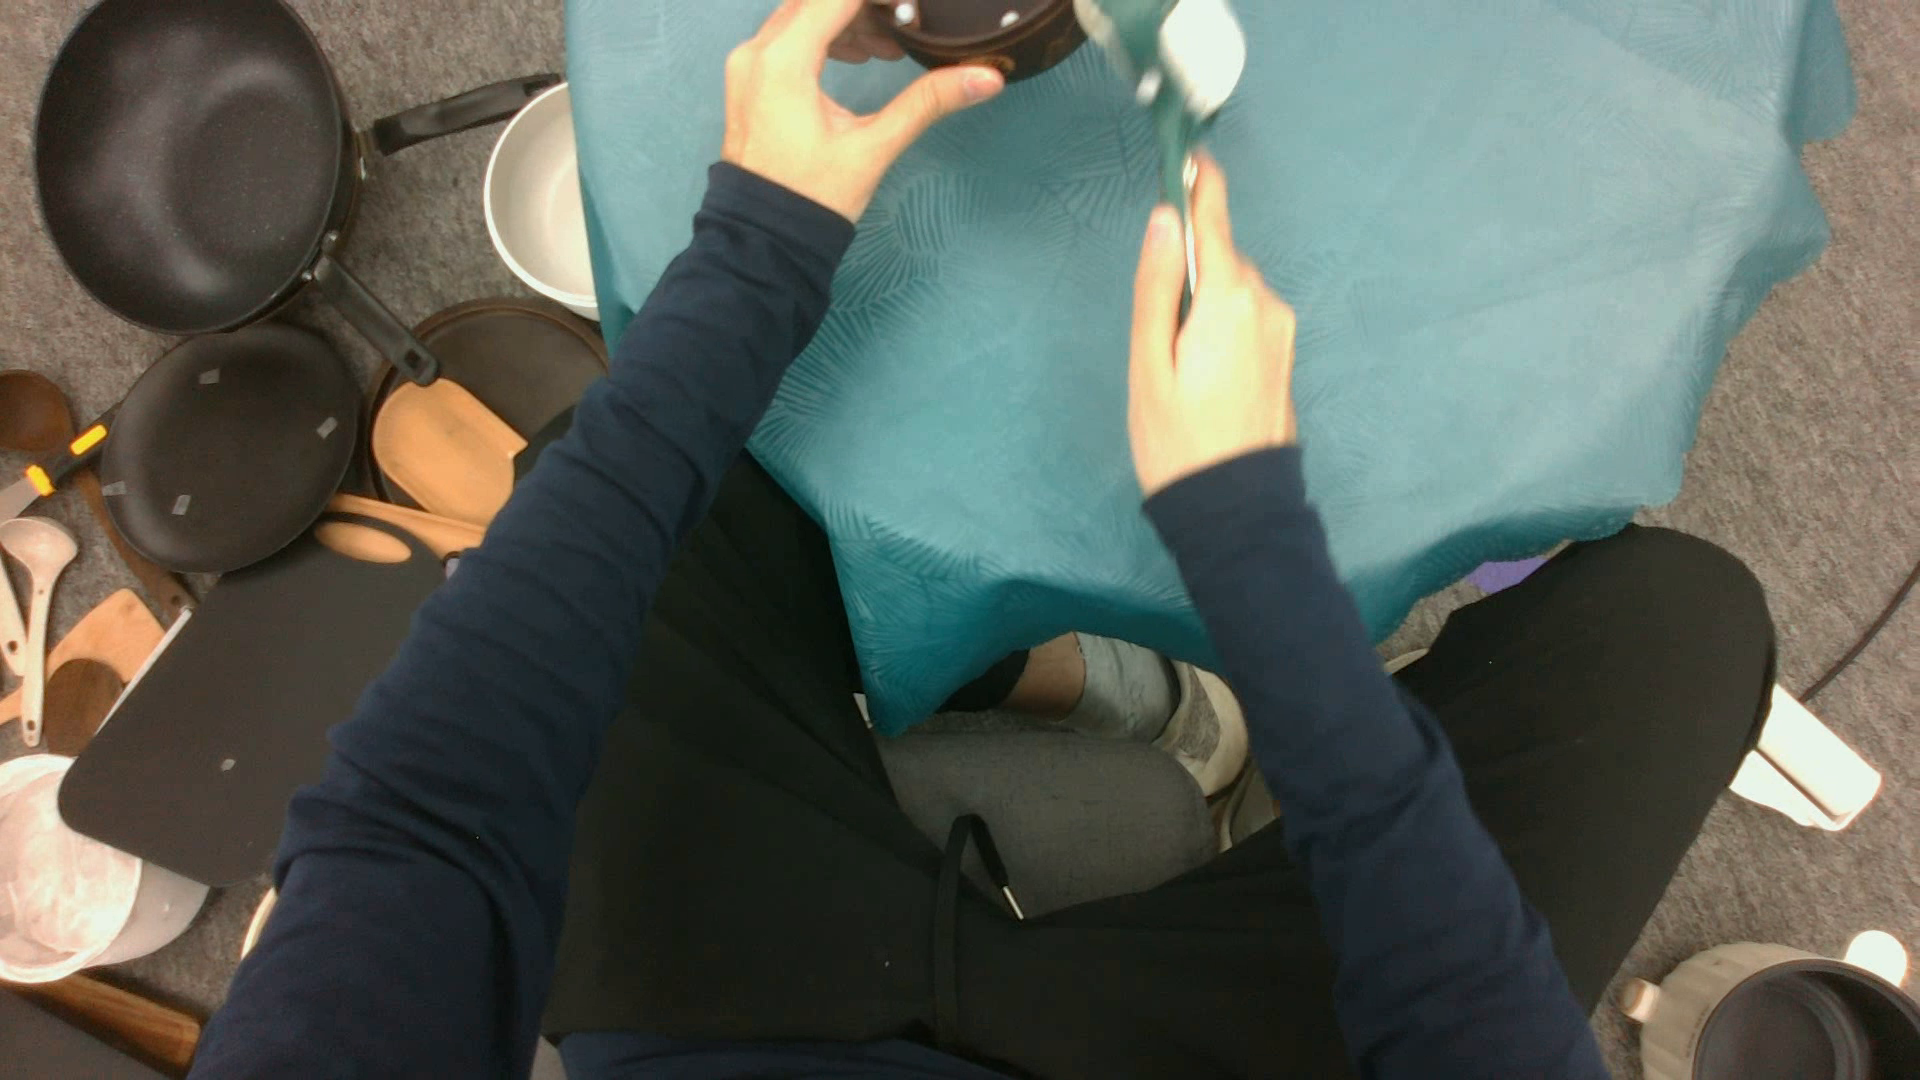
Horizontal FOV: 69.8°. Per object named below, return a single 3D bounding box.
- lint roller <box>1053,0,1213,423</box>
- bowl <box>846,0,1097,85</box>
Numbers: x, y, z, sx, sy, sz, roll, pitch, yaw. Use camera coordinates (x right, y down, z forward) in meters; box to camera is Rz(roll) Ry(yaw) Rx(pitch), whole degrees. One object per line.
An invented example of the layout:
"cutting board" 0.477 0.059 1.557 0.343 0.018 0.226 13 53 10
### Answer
"lint roller" 0.088 -0.141 0.579 0.048 0.134 0.180 -13 84 20
"bowl" 0.010 -0.255 0.601 0.118 0.070 0.118 -2 83 17
